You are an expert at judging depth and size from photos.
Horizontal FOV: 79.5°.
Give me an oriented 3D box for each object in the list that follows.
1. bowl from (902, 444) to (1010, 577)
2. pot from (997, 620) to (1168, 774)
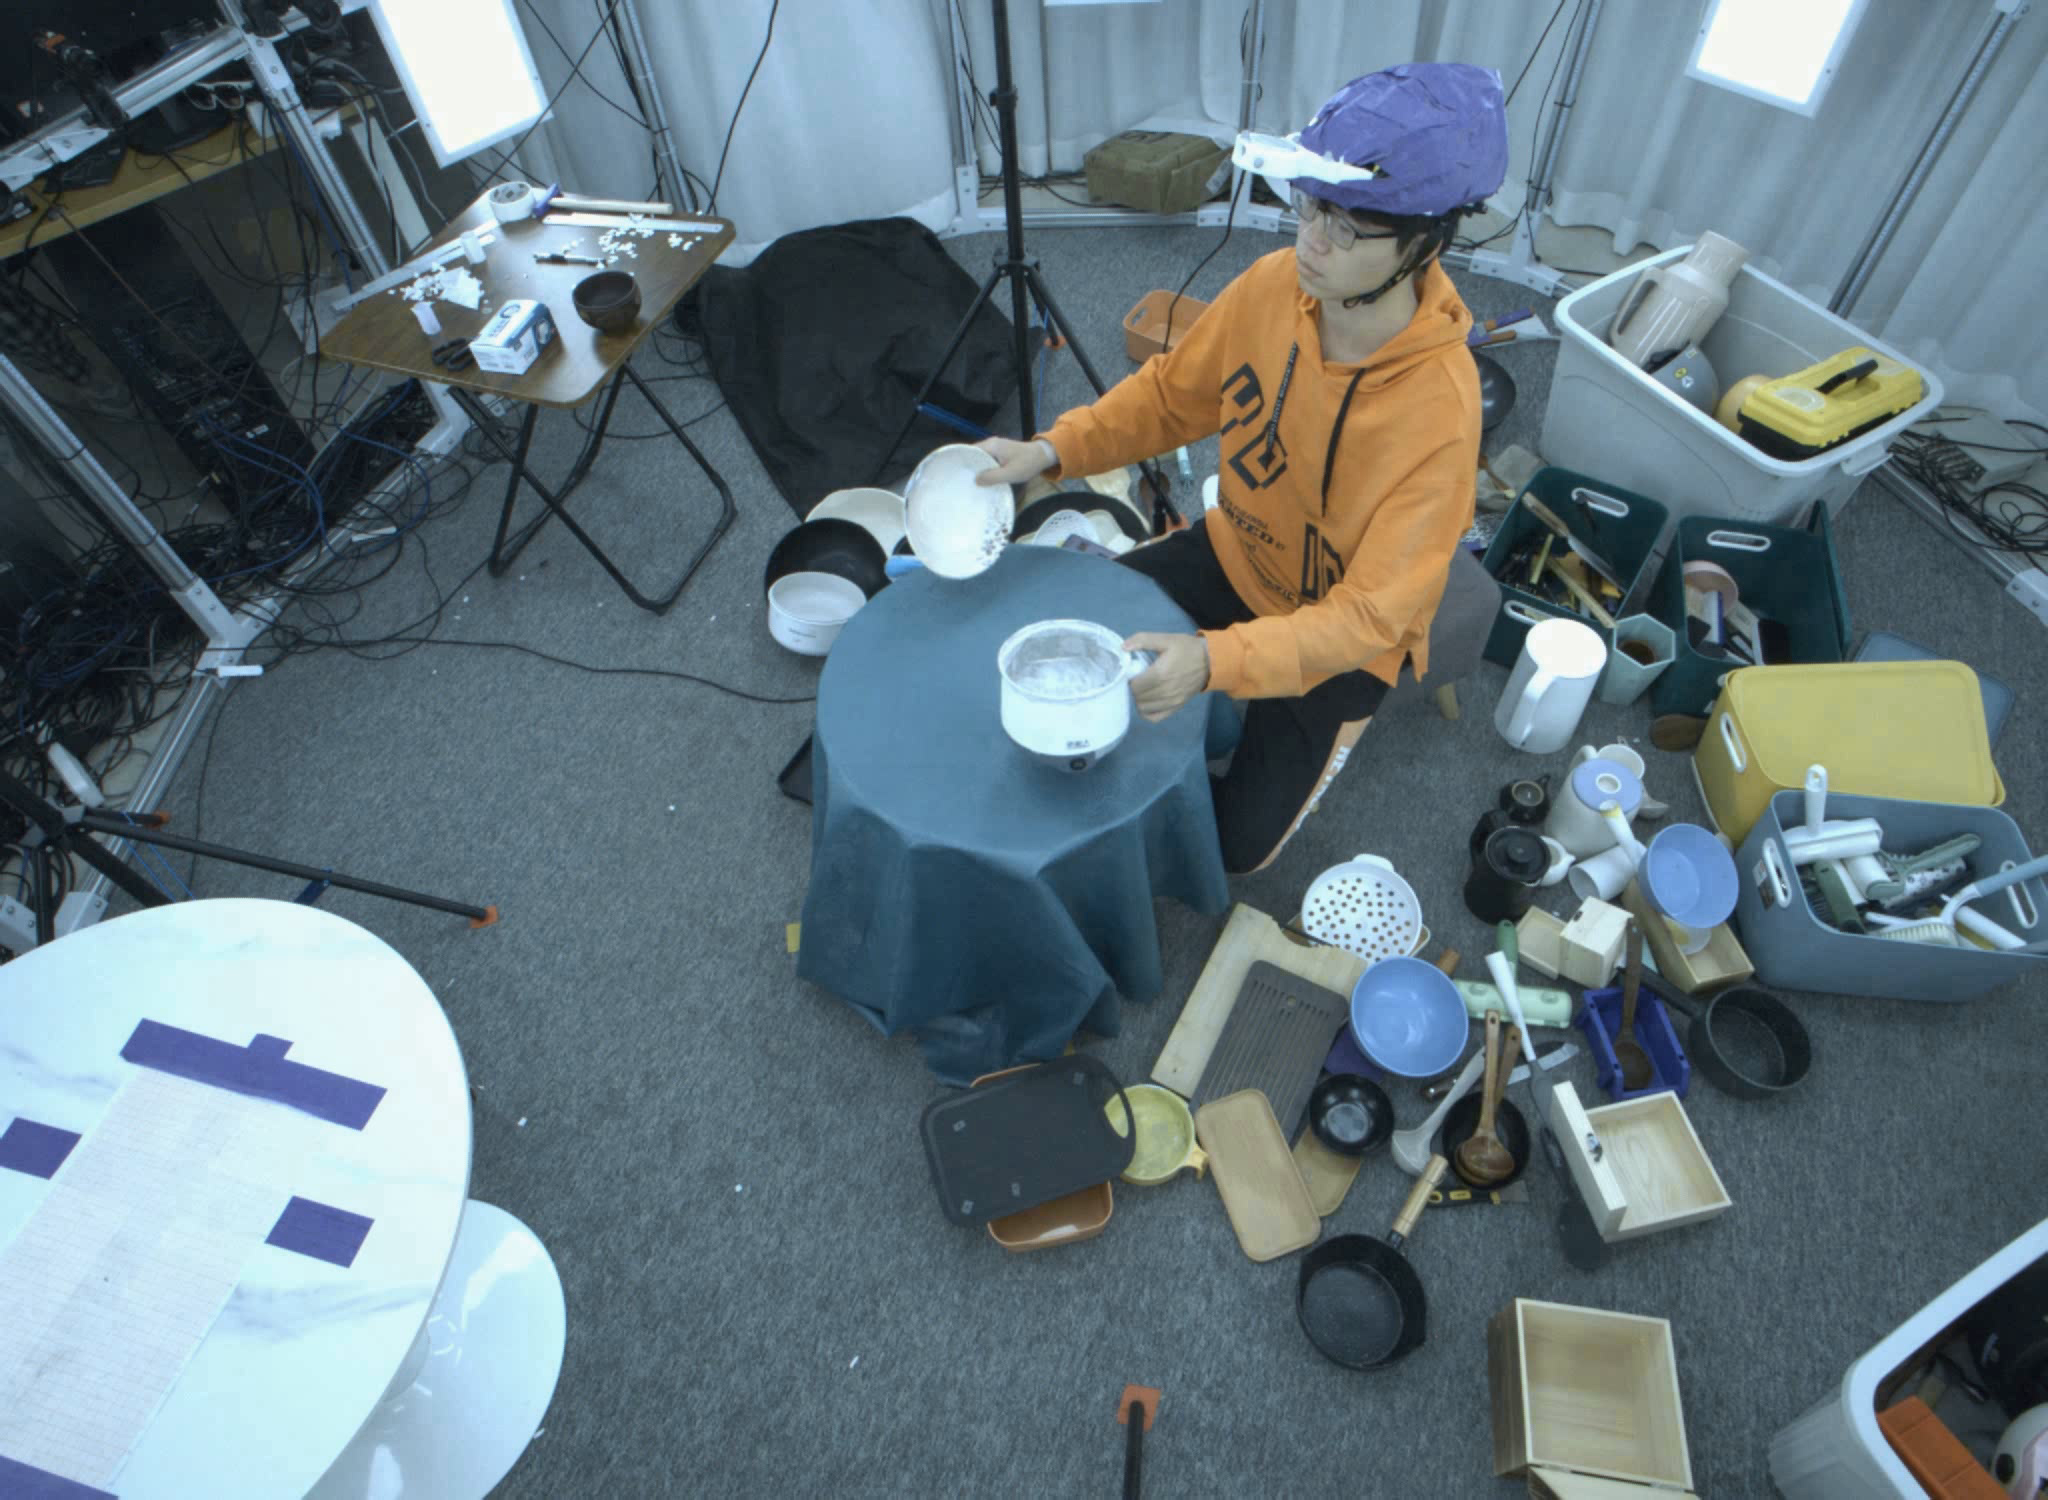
[{"bbox_3d":[-0.124,-0.372,1.881,0.205,0.207,0.076,-44,37,-24],"label":"bowl"},{"bbox_3d":[0.082,-0.078,1.676,0.235,0.138,0.175,-9,43,-8],"label":"pot"}]
